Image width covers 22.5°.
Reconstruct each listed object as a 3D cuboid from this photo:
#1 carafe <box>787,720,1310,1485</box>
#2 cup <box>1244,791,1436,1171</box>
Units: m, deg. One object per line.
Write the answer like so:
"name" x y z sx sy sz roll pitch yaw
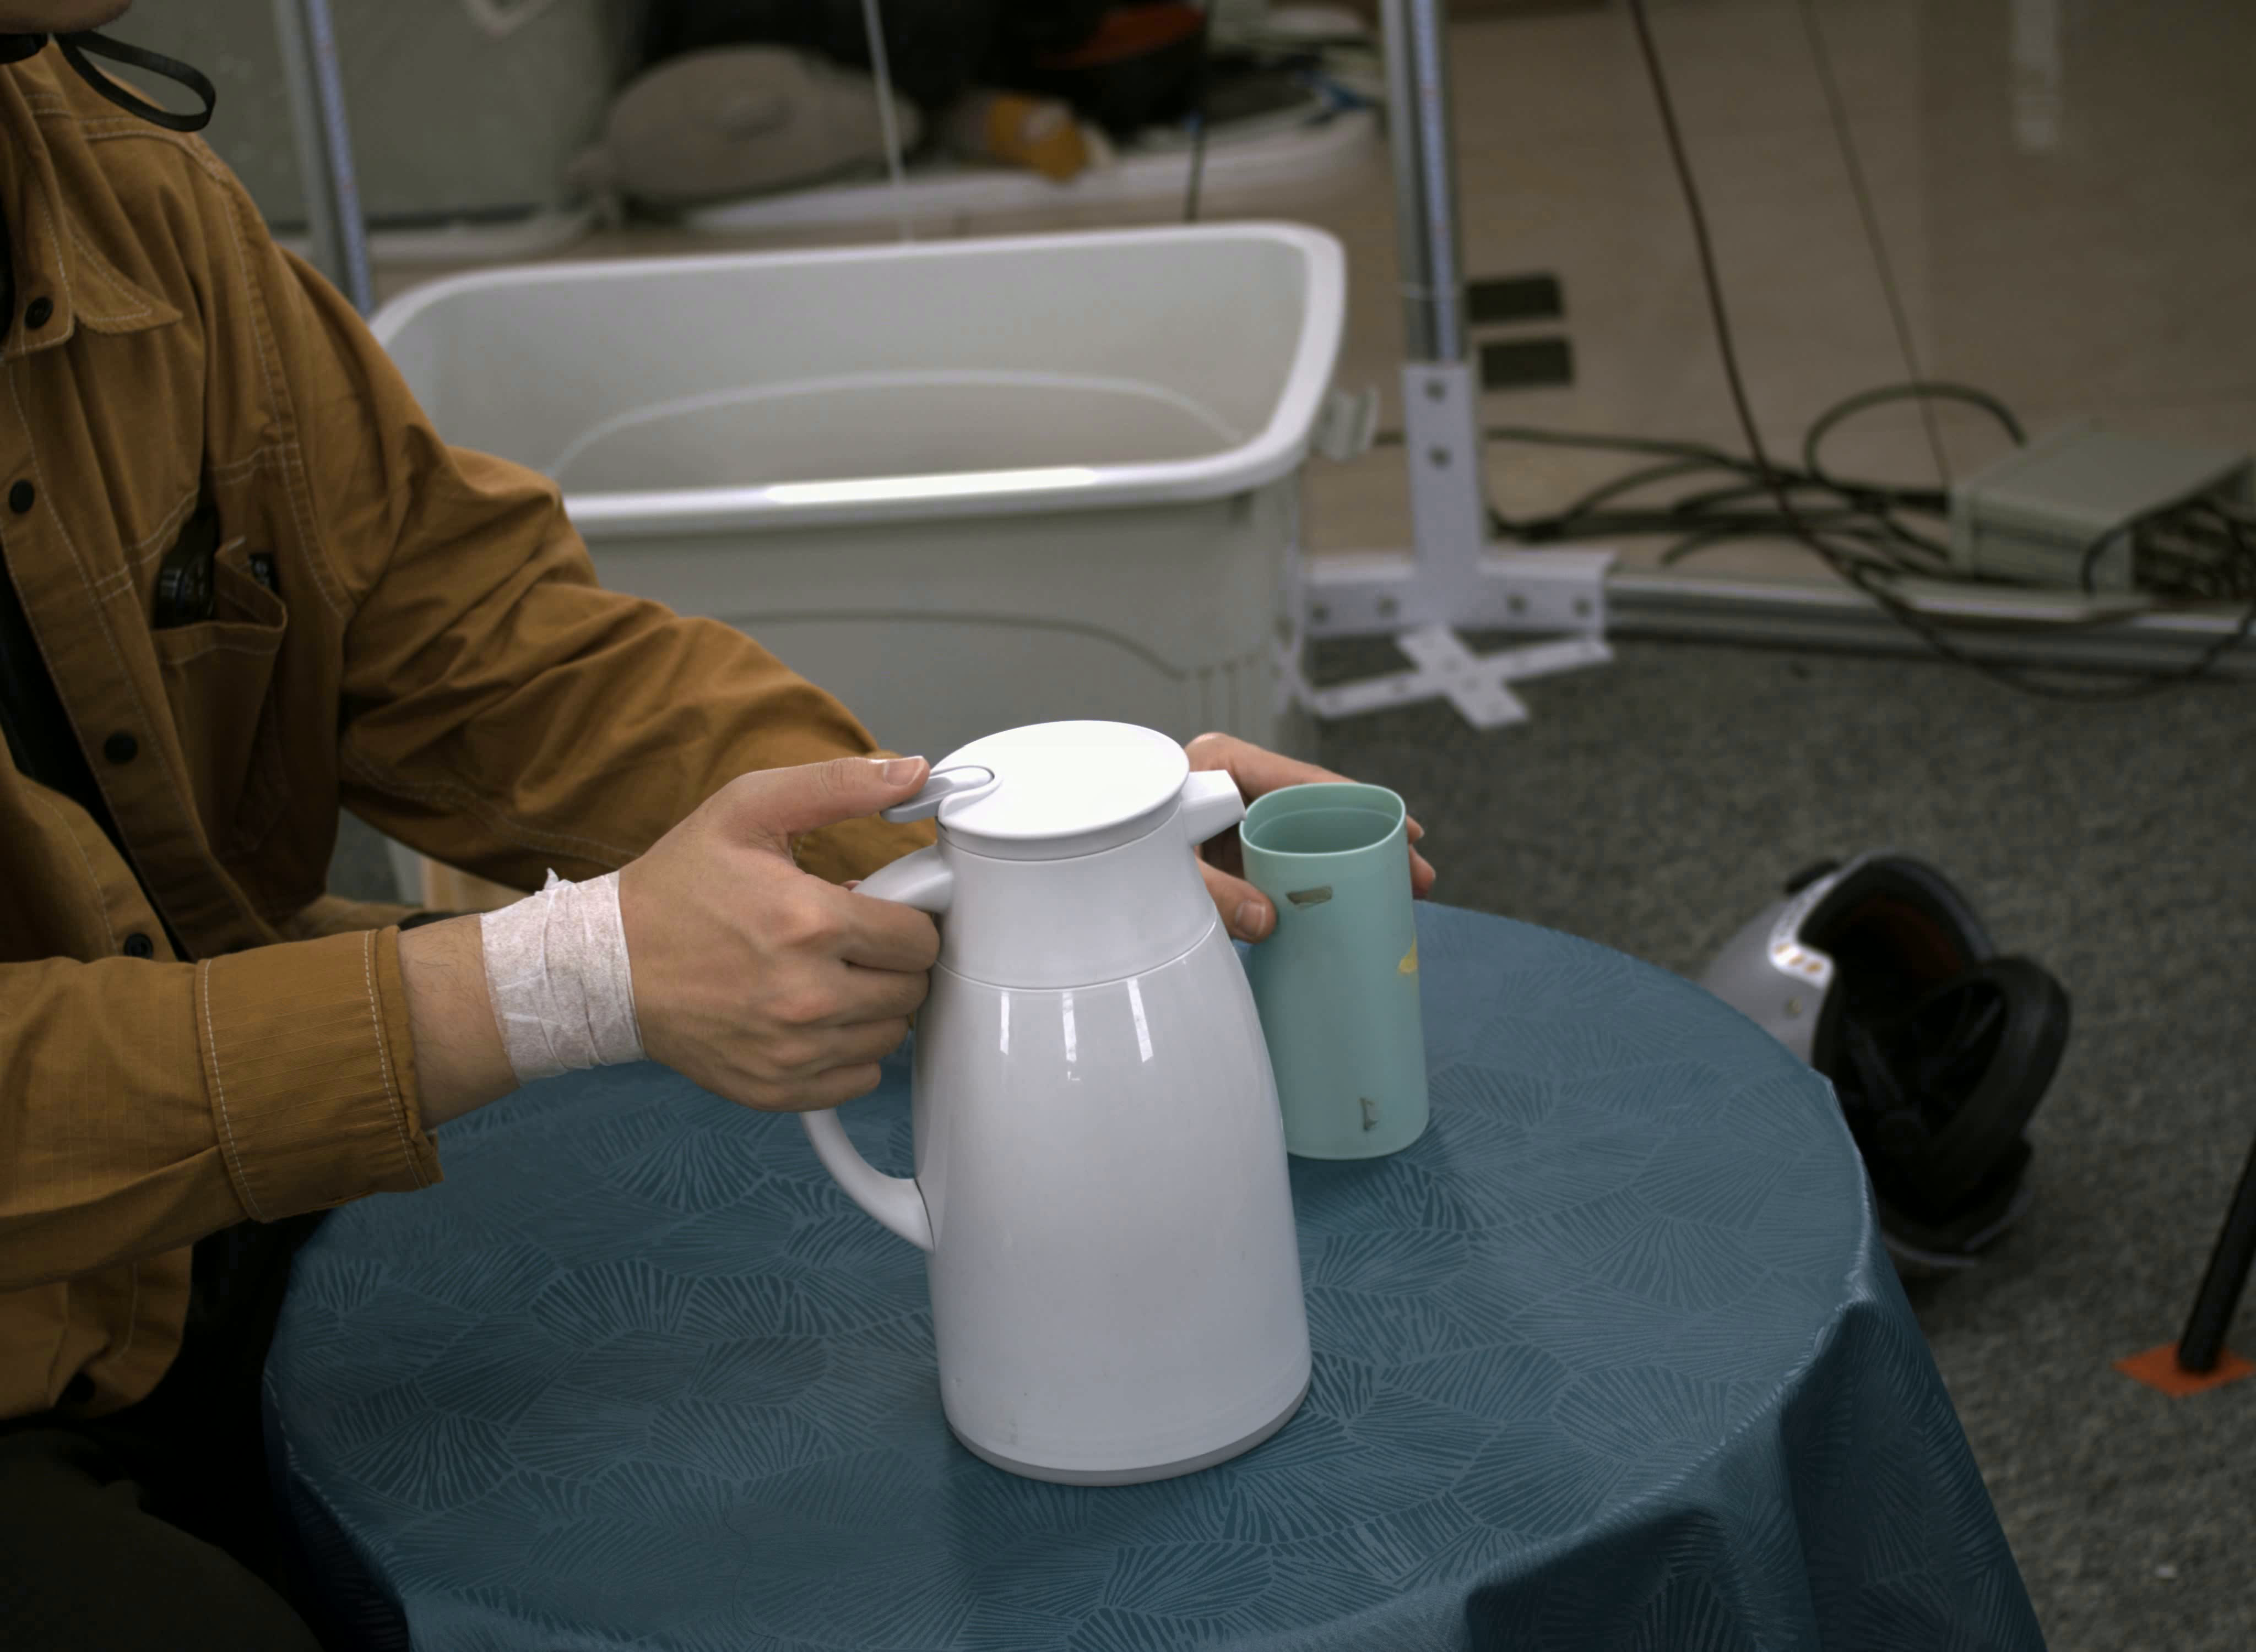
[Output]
"carafe" -0.031 0.093 1.959 0.167 0.252 0.130 -12 27 -10
"cup" 0.080 0.059 2.153 0.066 0.134 0.066 -5 26 3
